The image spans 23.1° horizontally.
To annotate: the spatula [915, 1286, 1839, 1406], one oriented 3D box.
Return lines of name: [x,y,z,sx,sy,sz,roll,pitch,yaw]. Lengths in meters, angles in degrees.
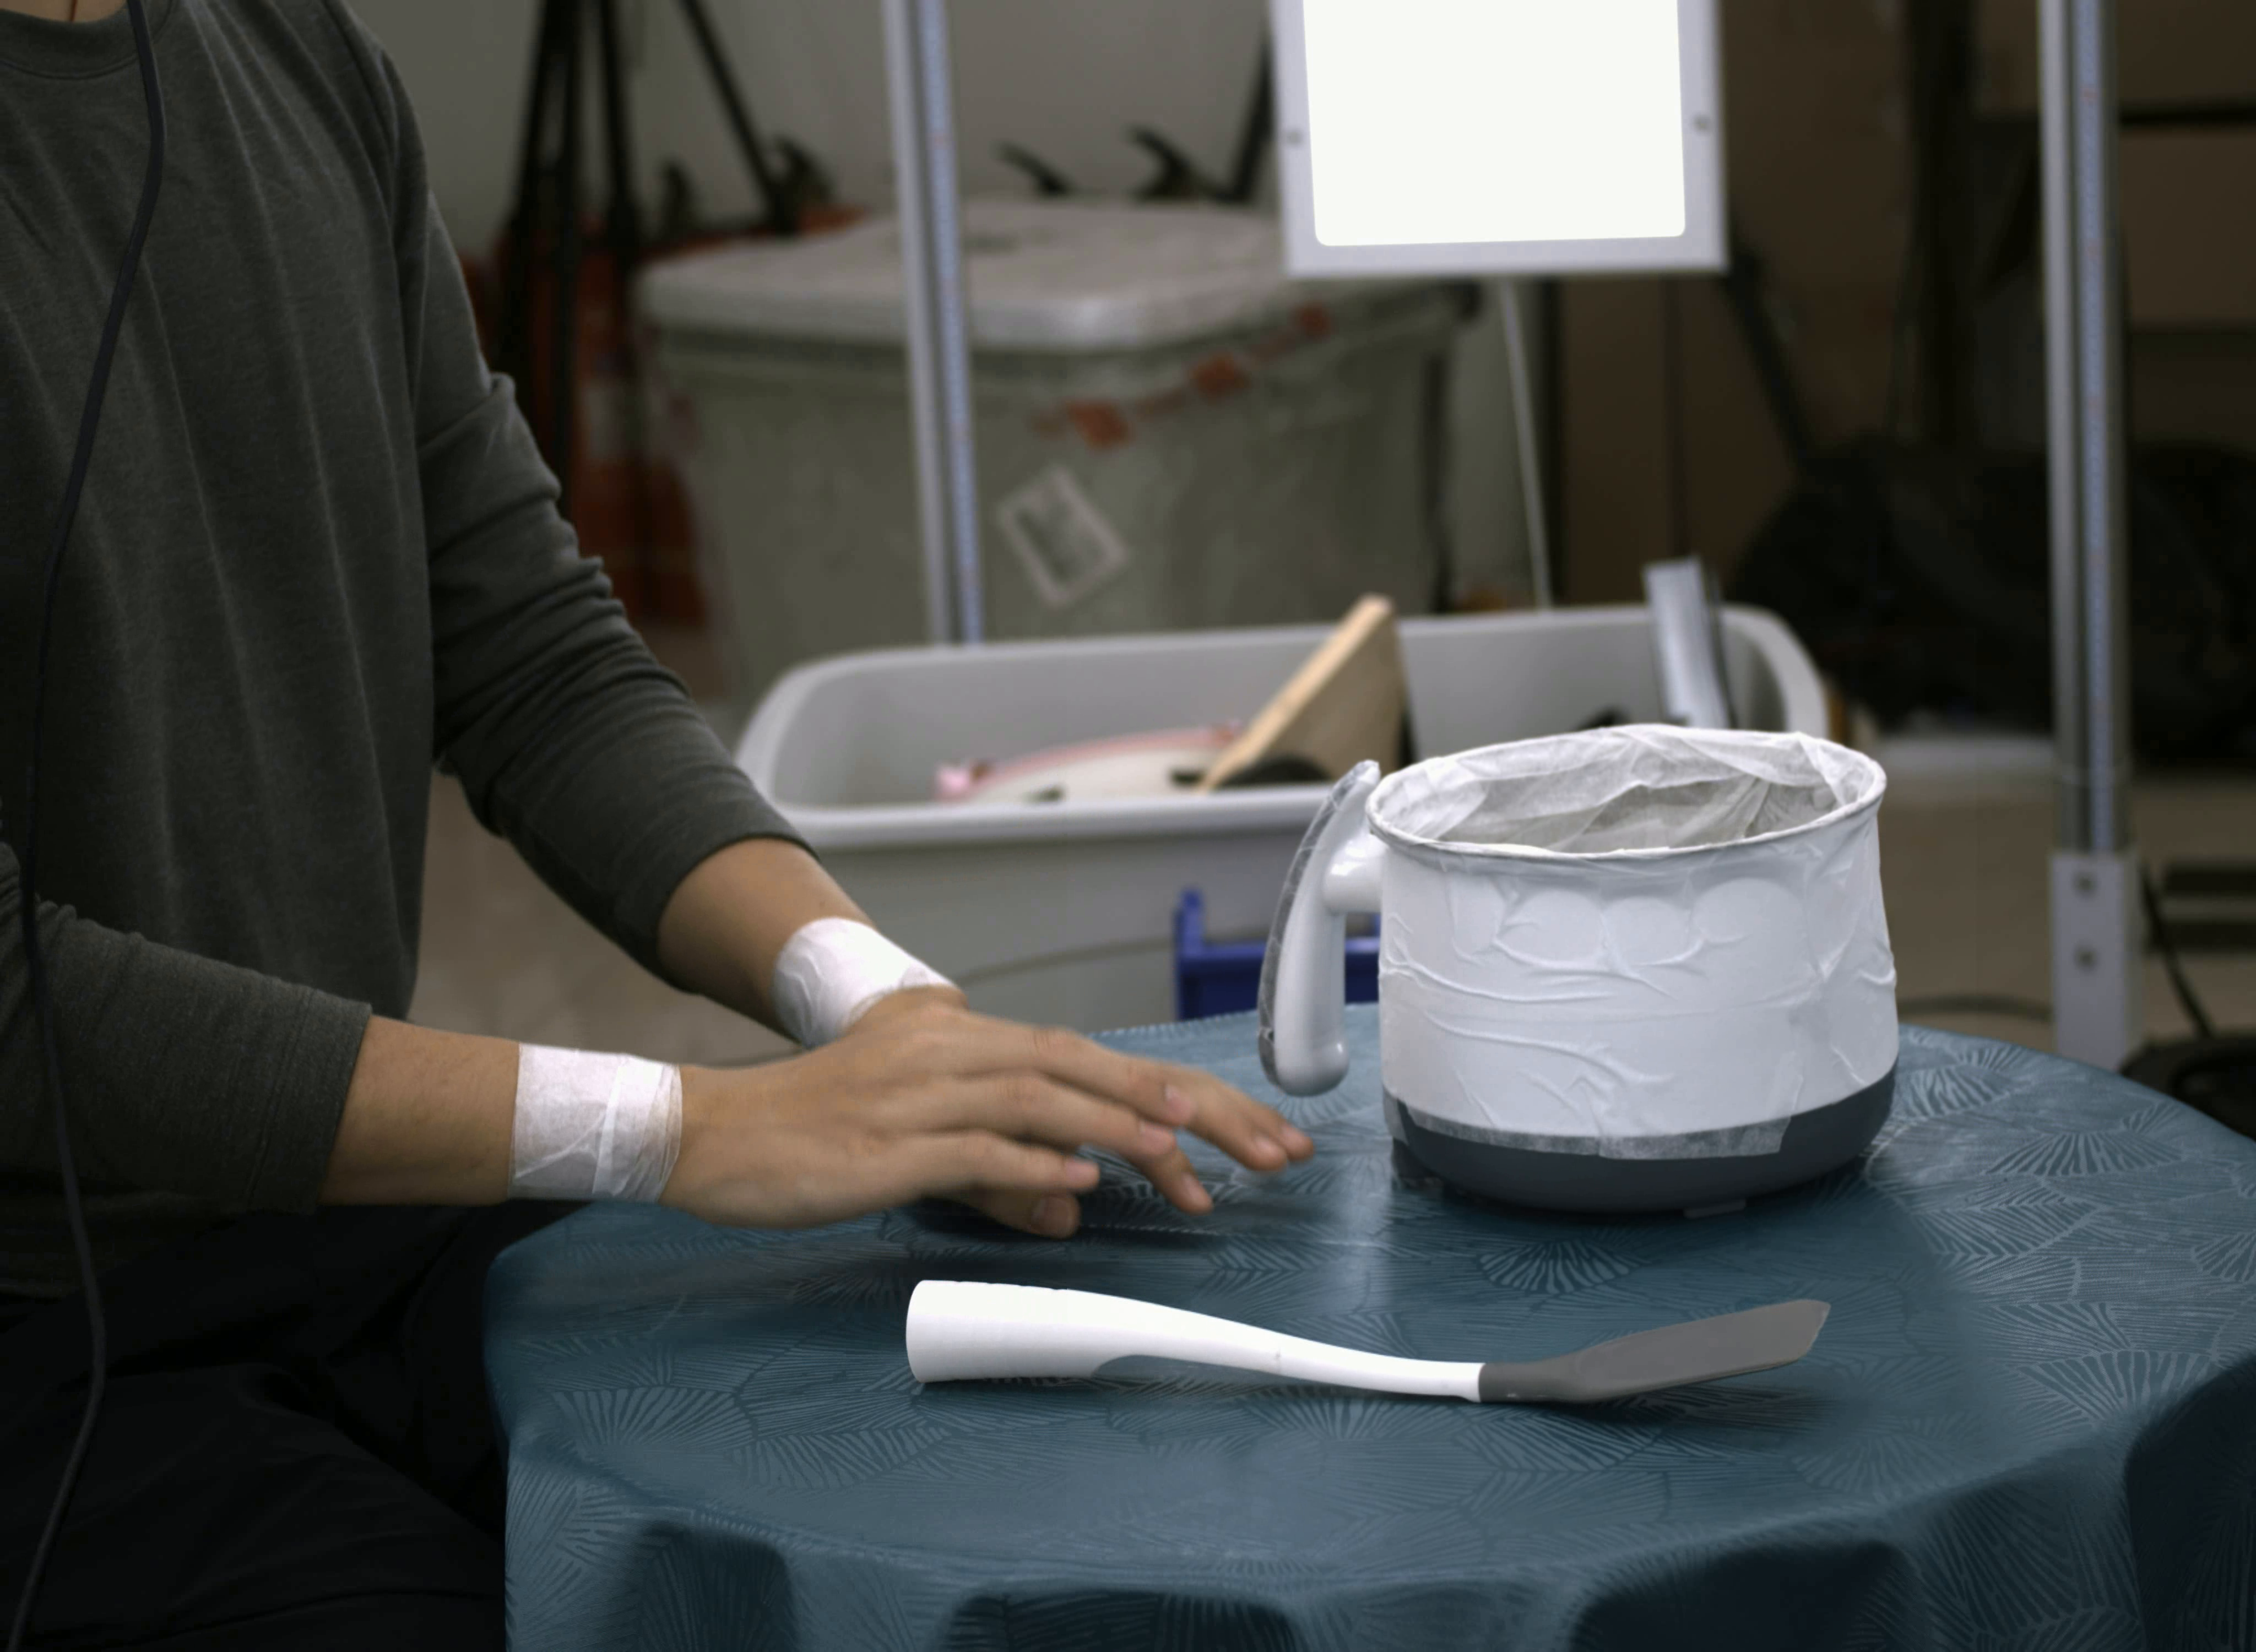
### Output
spatula: [0.074,0.159,1.675,0.291,0.032,0.057,-1,13,21]

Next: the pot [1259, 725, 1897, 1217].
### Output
pot: [0.149,0.047,1.885,0.238,0.137,0.174,3,16,31]
